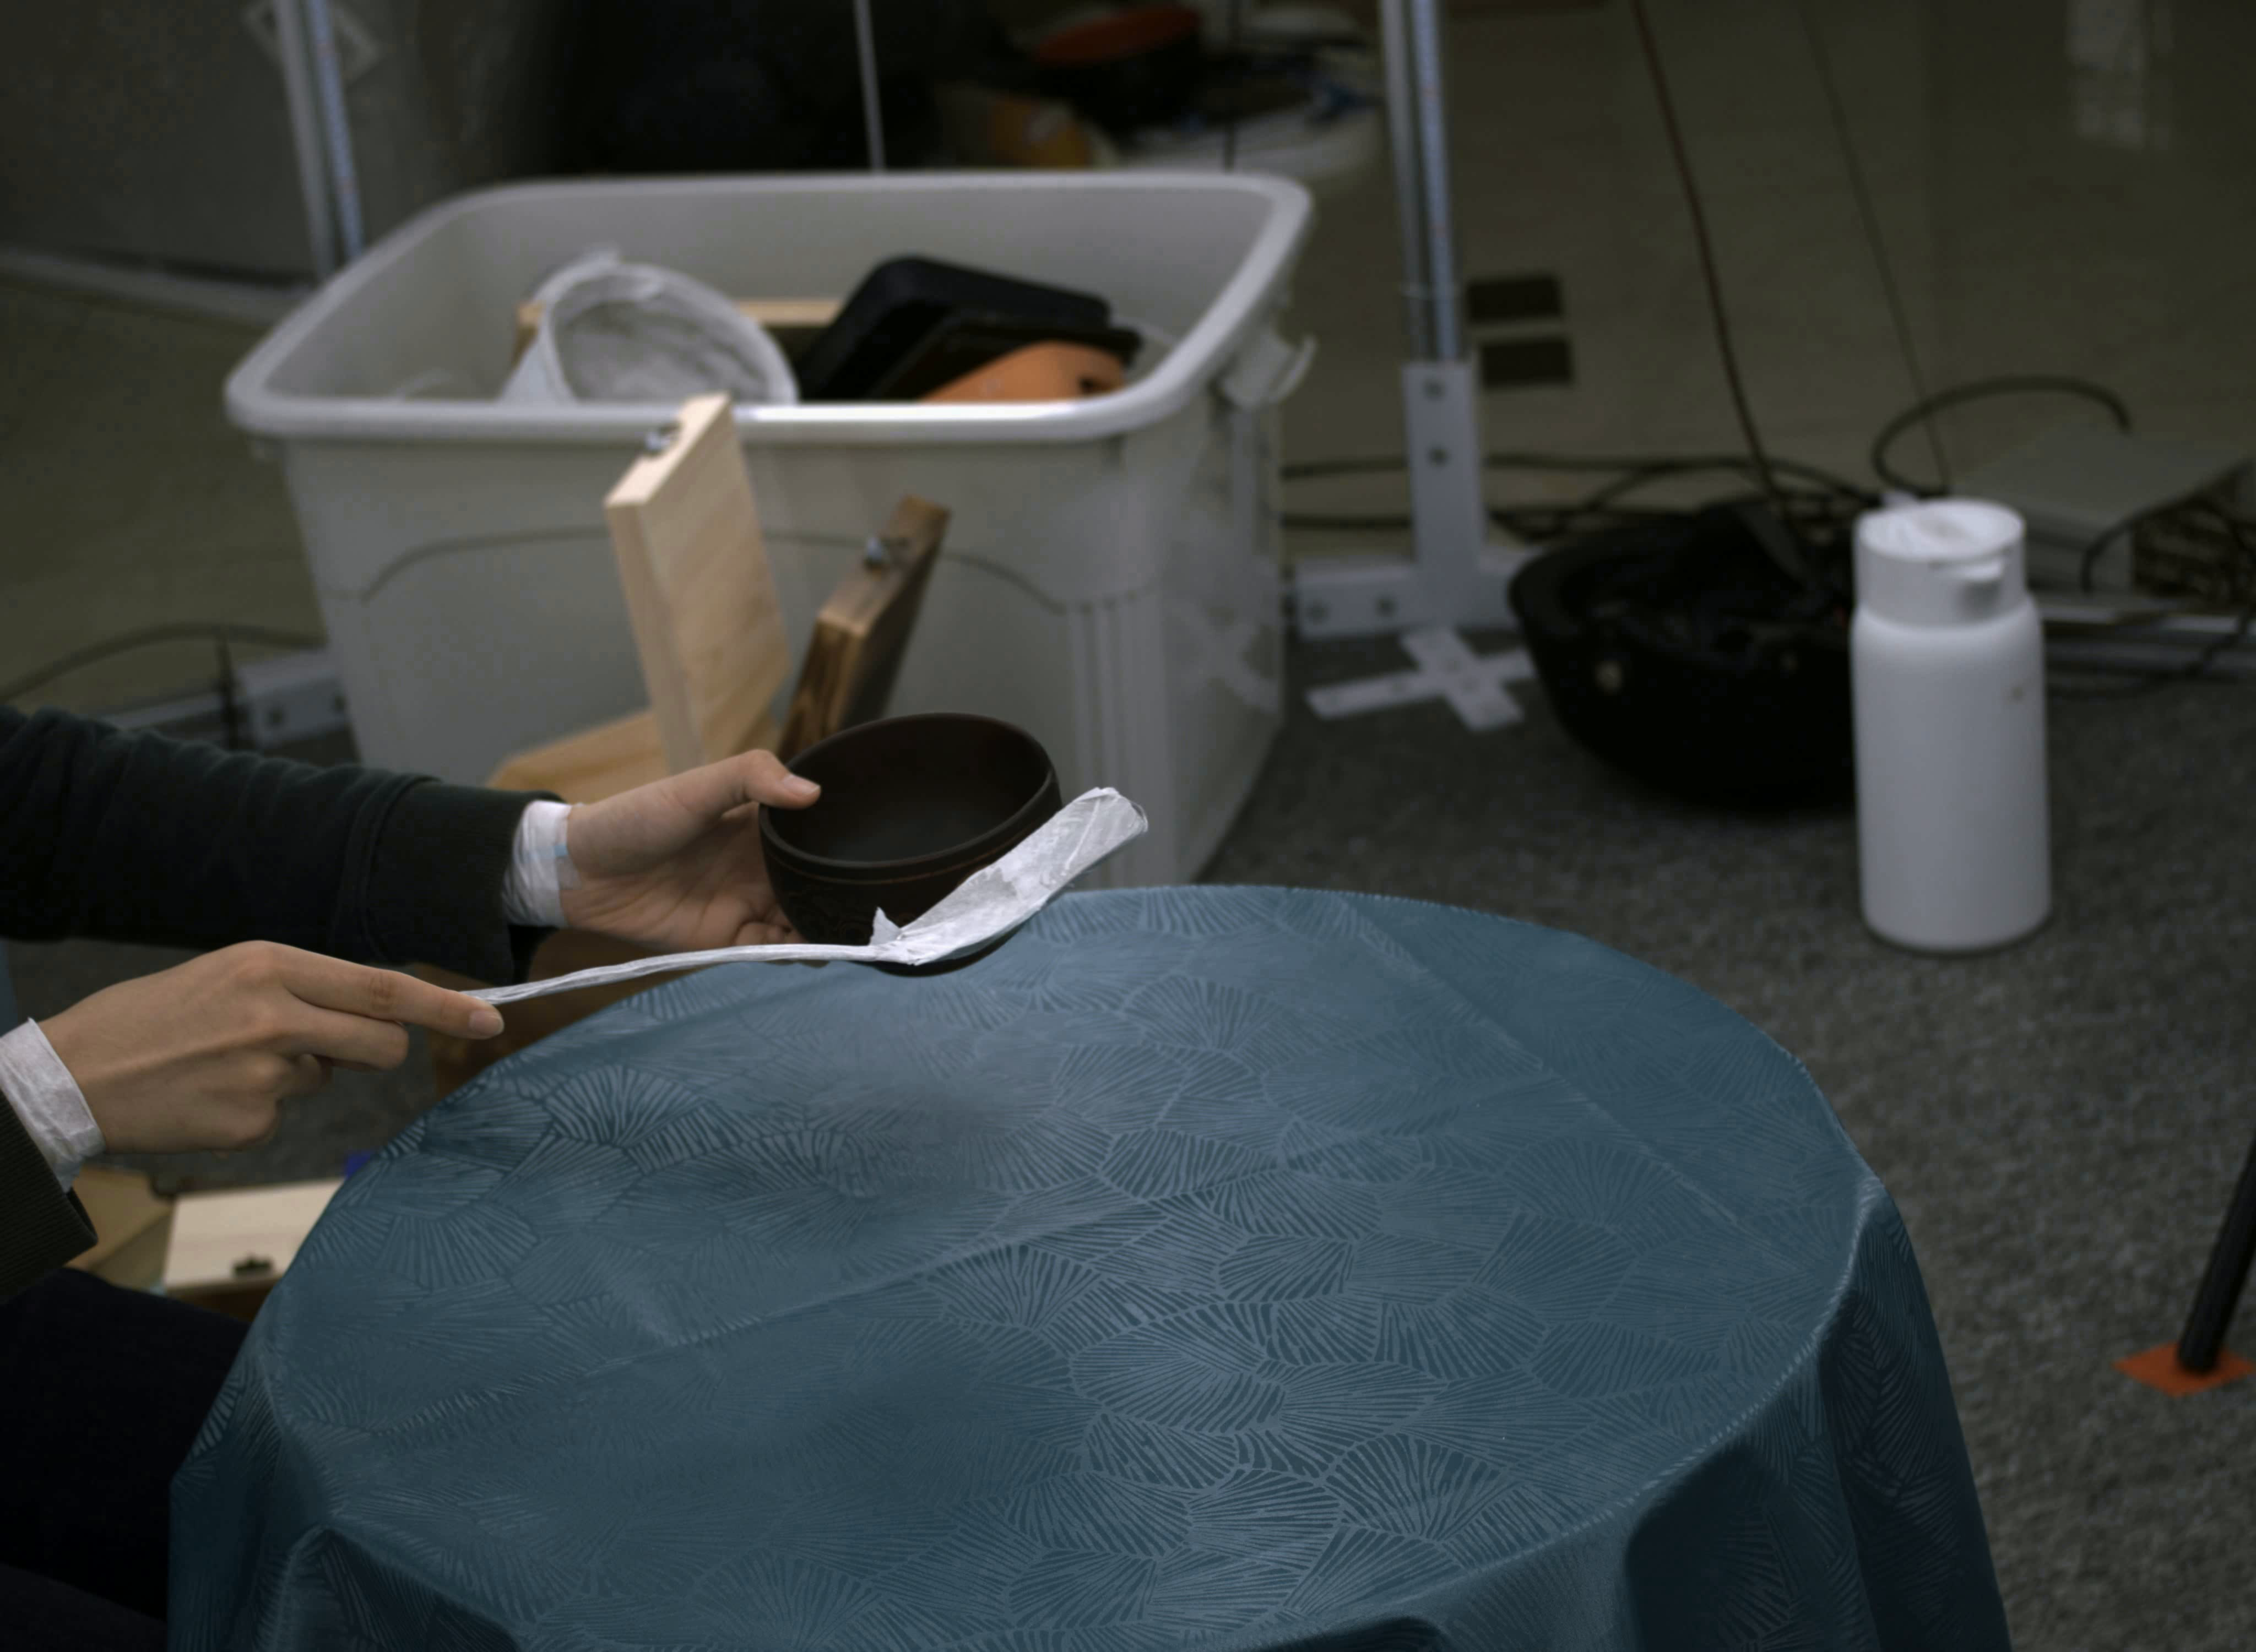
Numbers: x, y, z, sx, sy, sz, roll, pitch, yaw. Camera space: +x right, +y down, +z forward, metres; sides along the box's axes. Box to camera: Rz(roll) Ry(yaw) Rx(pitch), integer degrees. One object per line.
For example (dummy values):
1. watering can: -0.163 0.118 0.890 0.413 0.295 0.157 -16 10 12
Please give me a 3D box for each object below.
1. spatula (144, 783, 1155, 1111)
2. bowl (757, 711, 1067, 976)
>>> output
1. spatula: -0.166 0.045 1.965 0.364 0.045 0.098 -11 14 -4
2. bowl: -0.079 0.013 2.166 0.118 0.071 0.116 -8 29 5
